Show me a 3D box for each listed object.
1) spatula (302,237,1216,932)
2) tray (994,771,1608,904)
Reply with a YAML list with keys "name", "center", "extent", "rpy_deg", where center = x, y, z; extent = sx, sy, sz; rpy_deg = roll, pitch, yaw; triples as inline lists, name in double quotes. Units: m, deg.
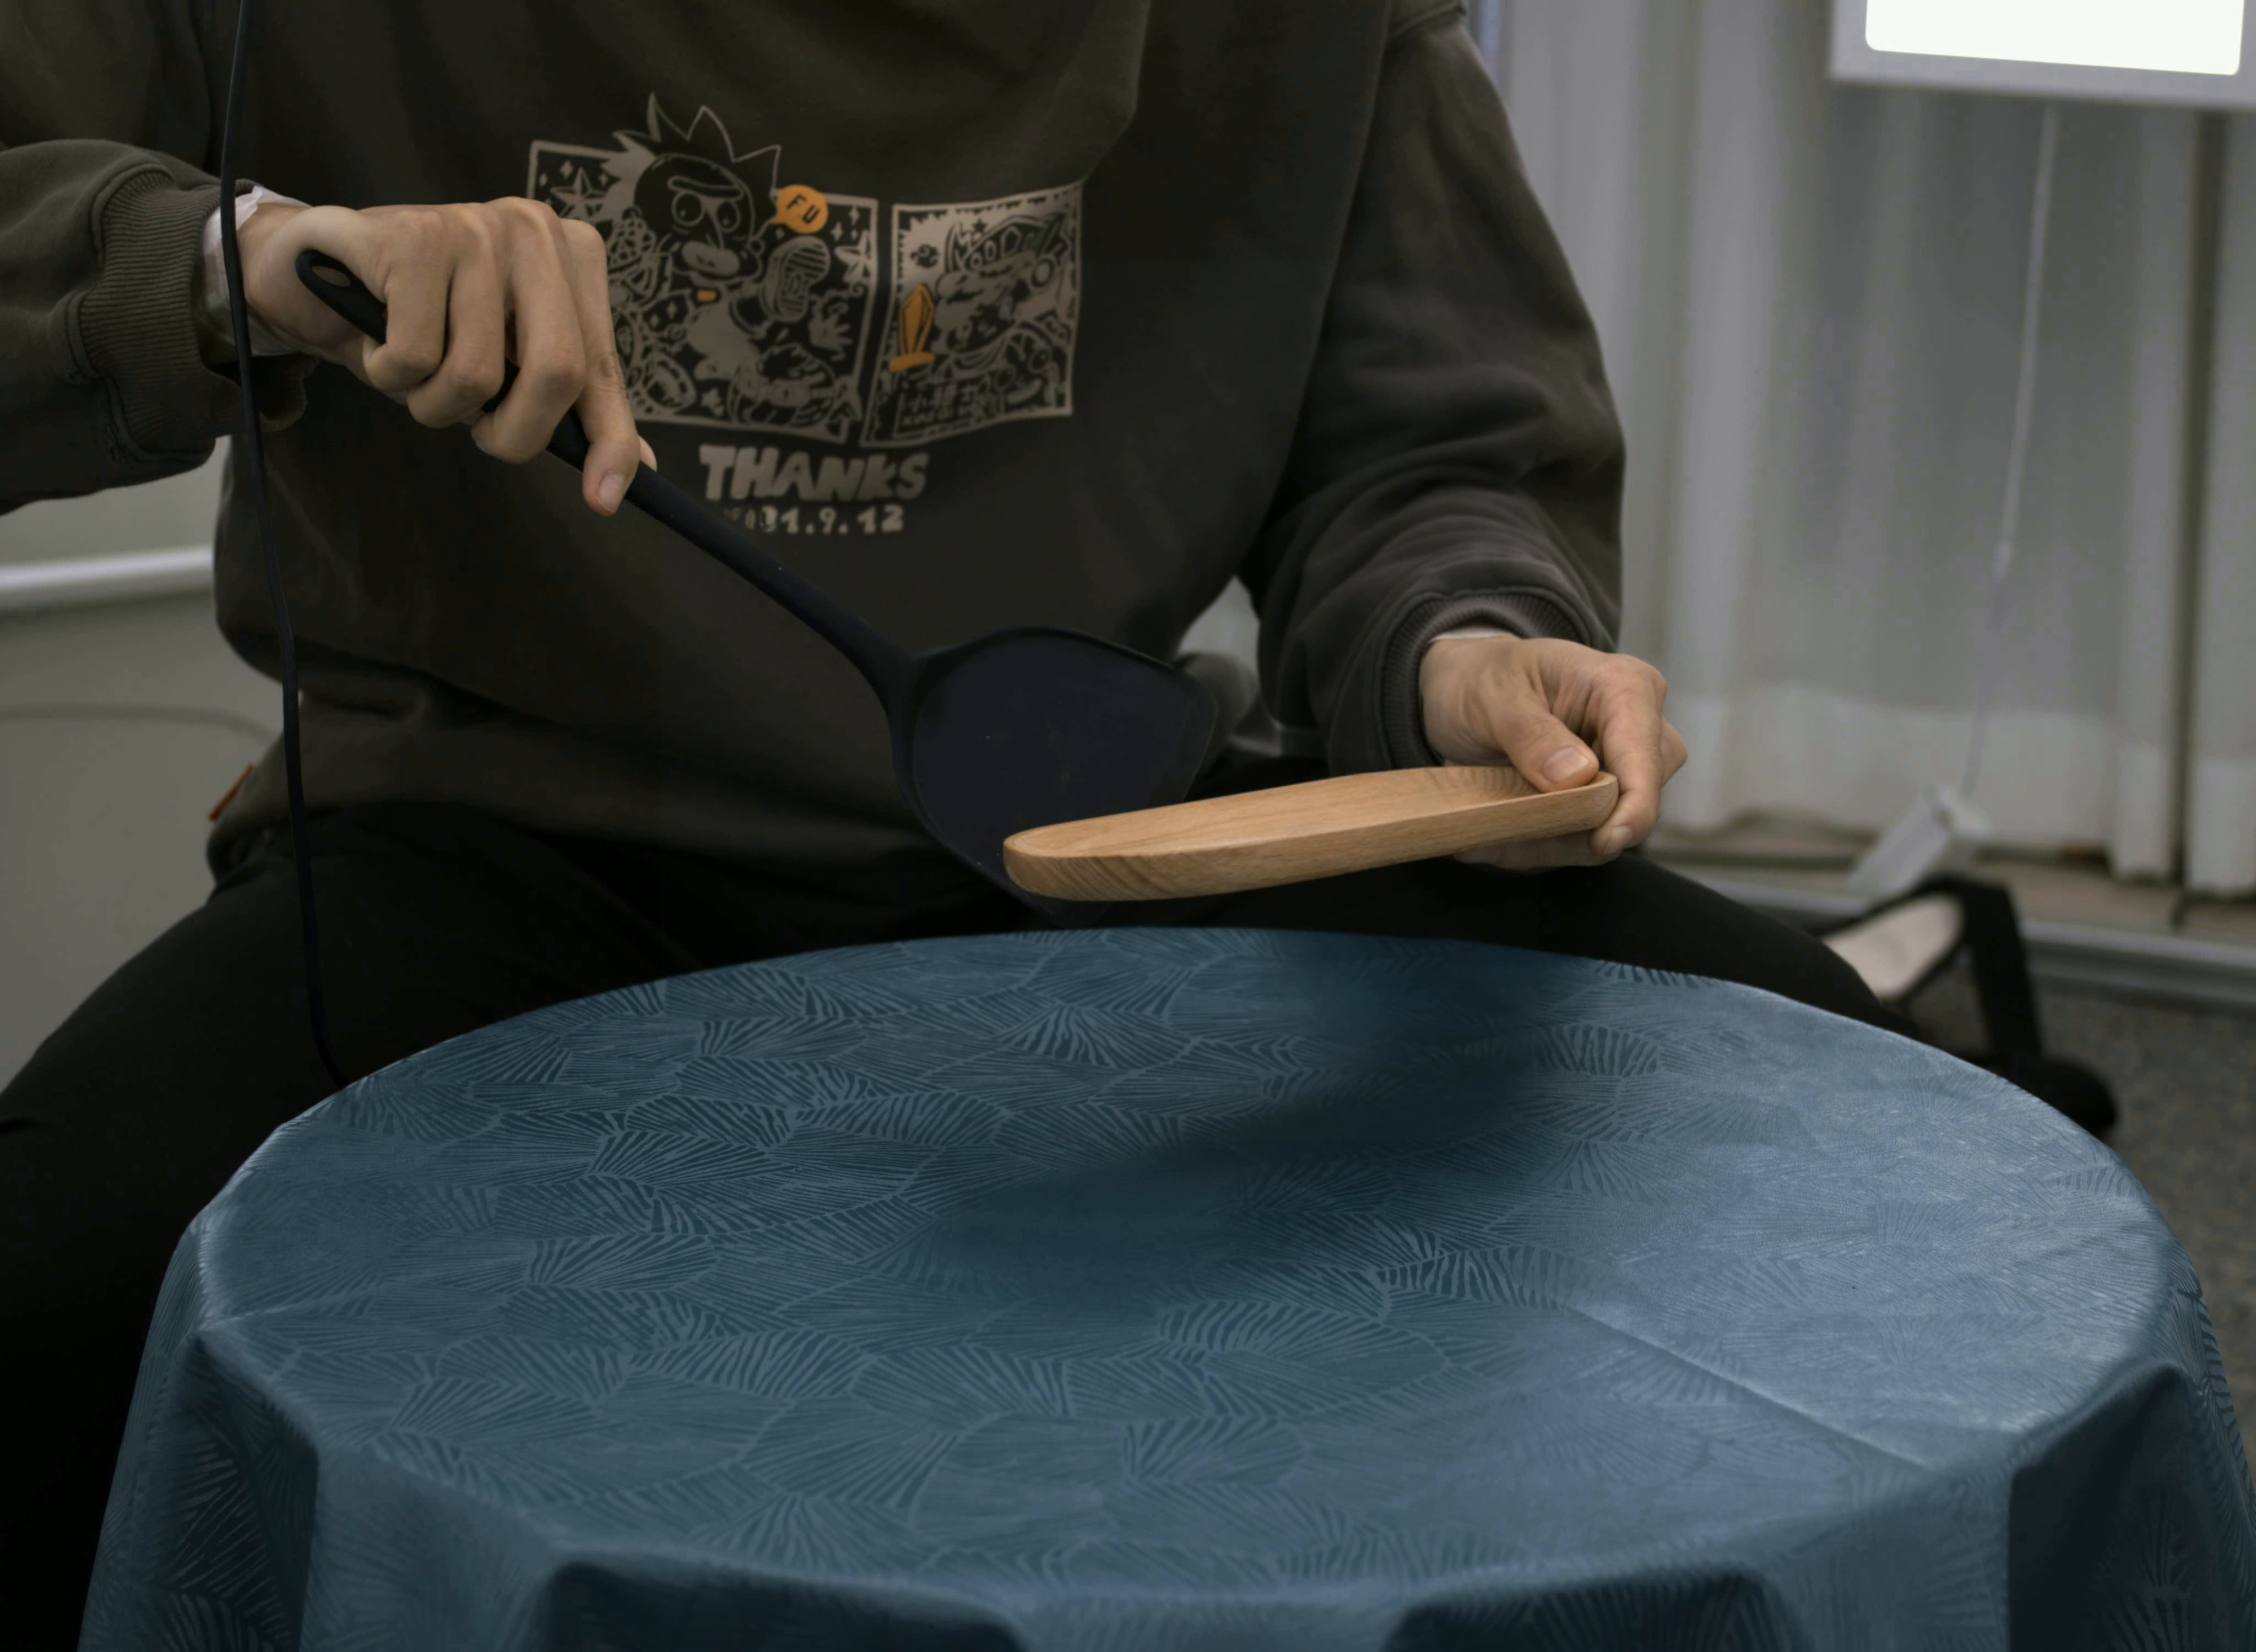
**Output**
- name: "spatula"
  center: [-0.123, -0.090, 1.664]
  extent: [0.328, 0.099, 0.040]
  rpy_deg: [36, -23, -13]
- name: "tray"
  center: [0.057, 0.003, 1.658]
  extent: [0.232, 0.020, 0.100]
  rpy_deg: [-11, 10, -43]
